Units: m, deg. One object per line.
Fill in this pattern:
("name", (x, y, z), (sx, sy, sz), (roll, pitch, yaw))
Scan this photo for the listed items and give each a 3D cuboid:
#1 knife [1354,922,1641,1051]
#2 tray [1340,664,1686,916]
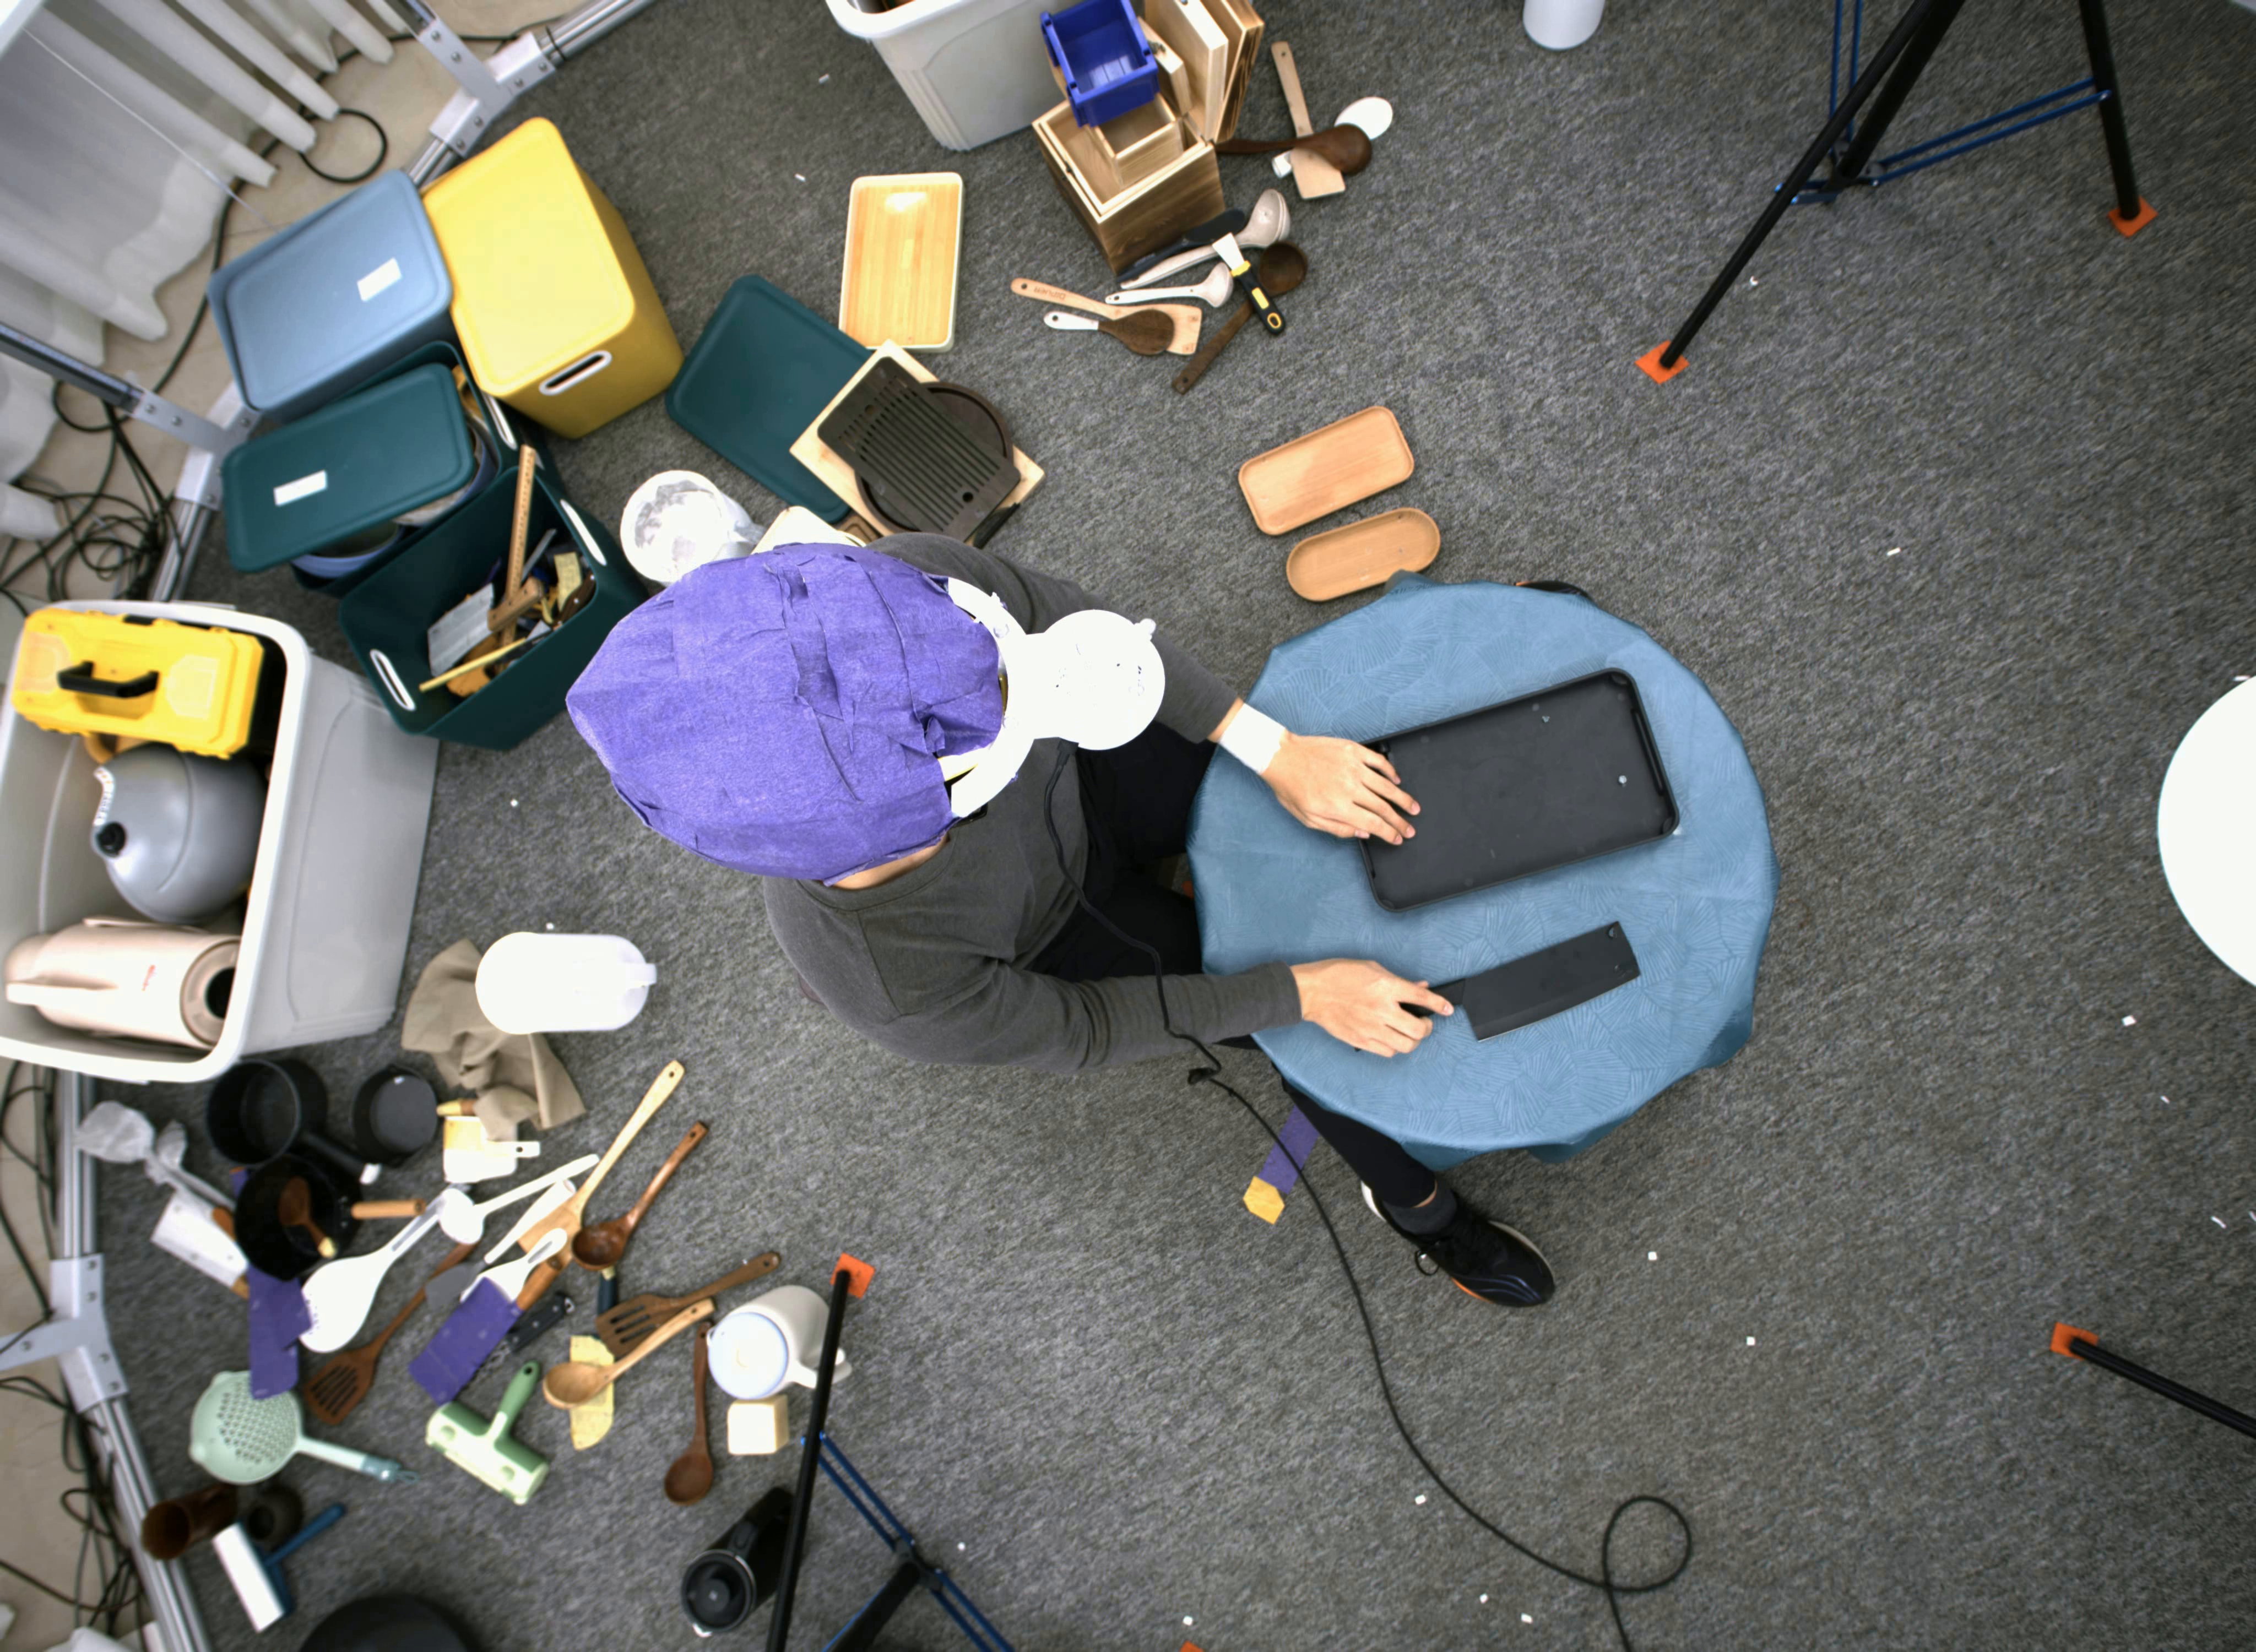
("knife", (0.378, 0.176, 1.428), (0.304, 0.021, 0.080), (-17, 86, 8))
("tray", (0.394, -0.038, 1.424), (0.320, 0.037, 0.183), (-19, 83, 9))
